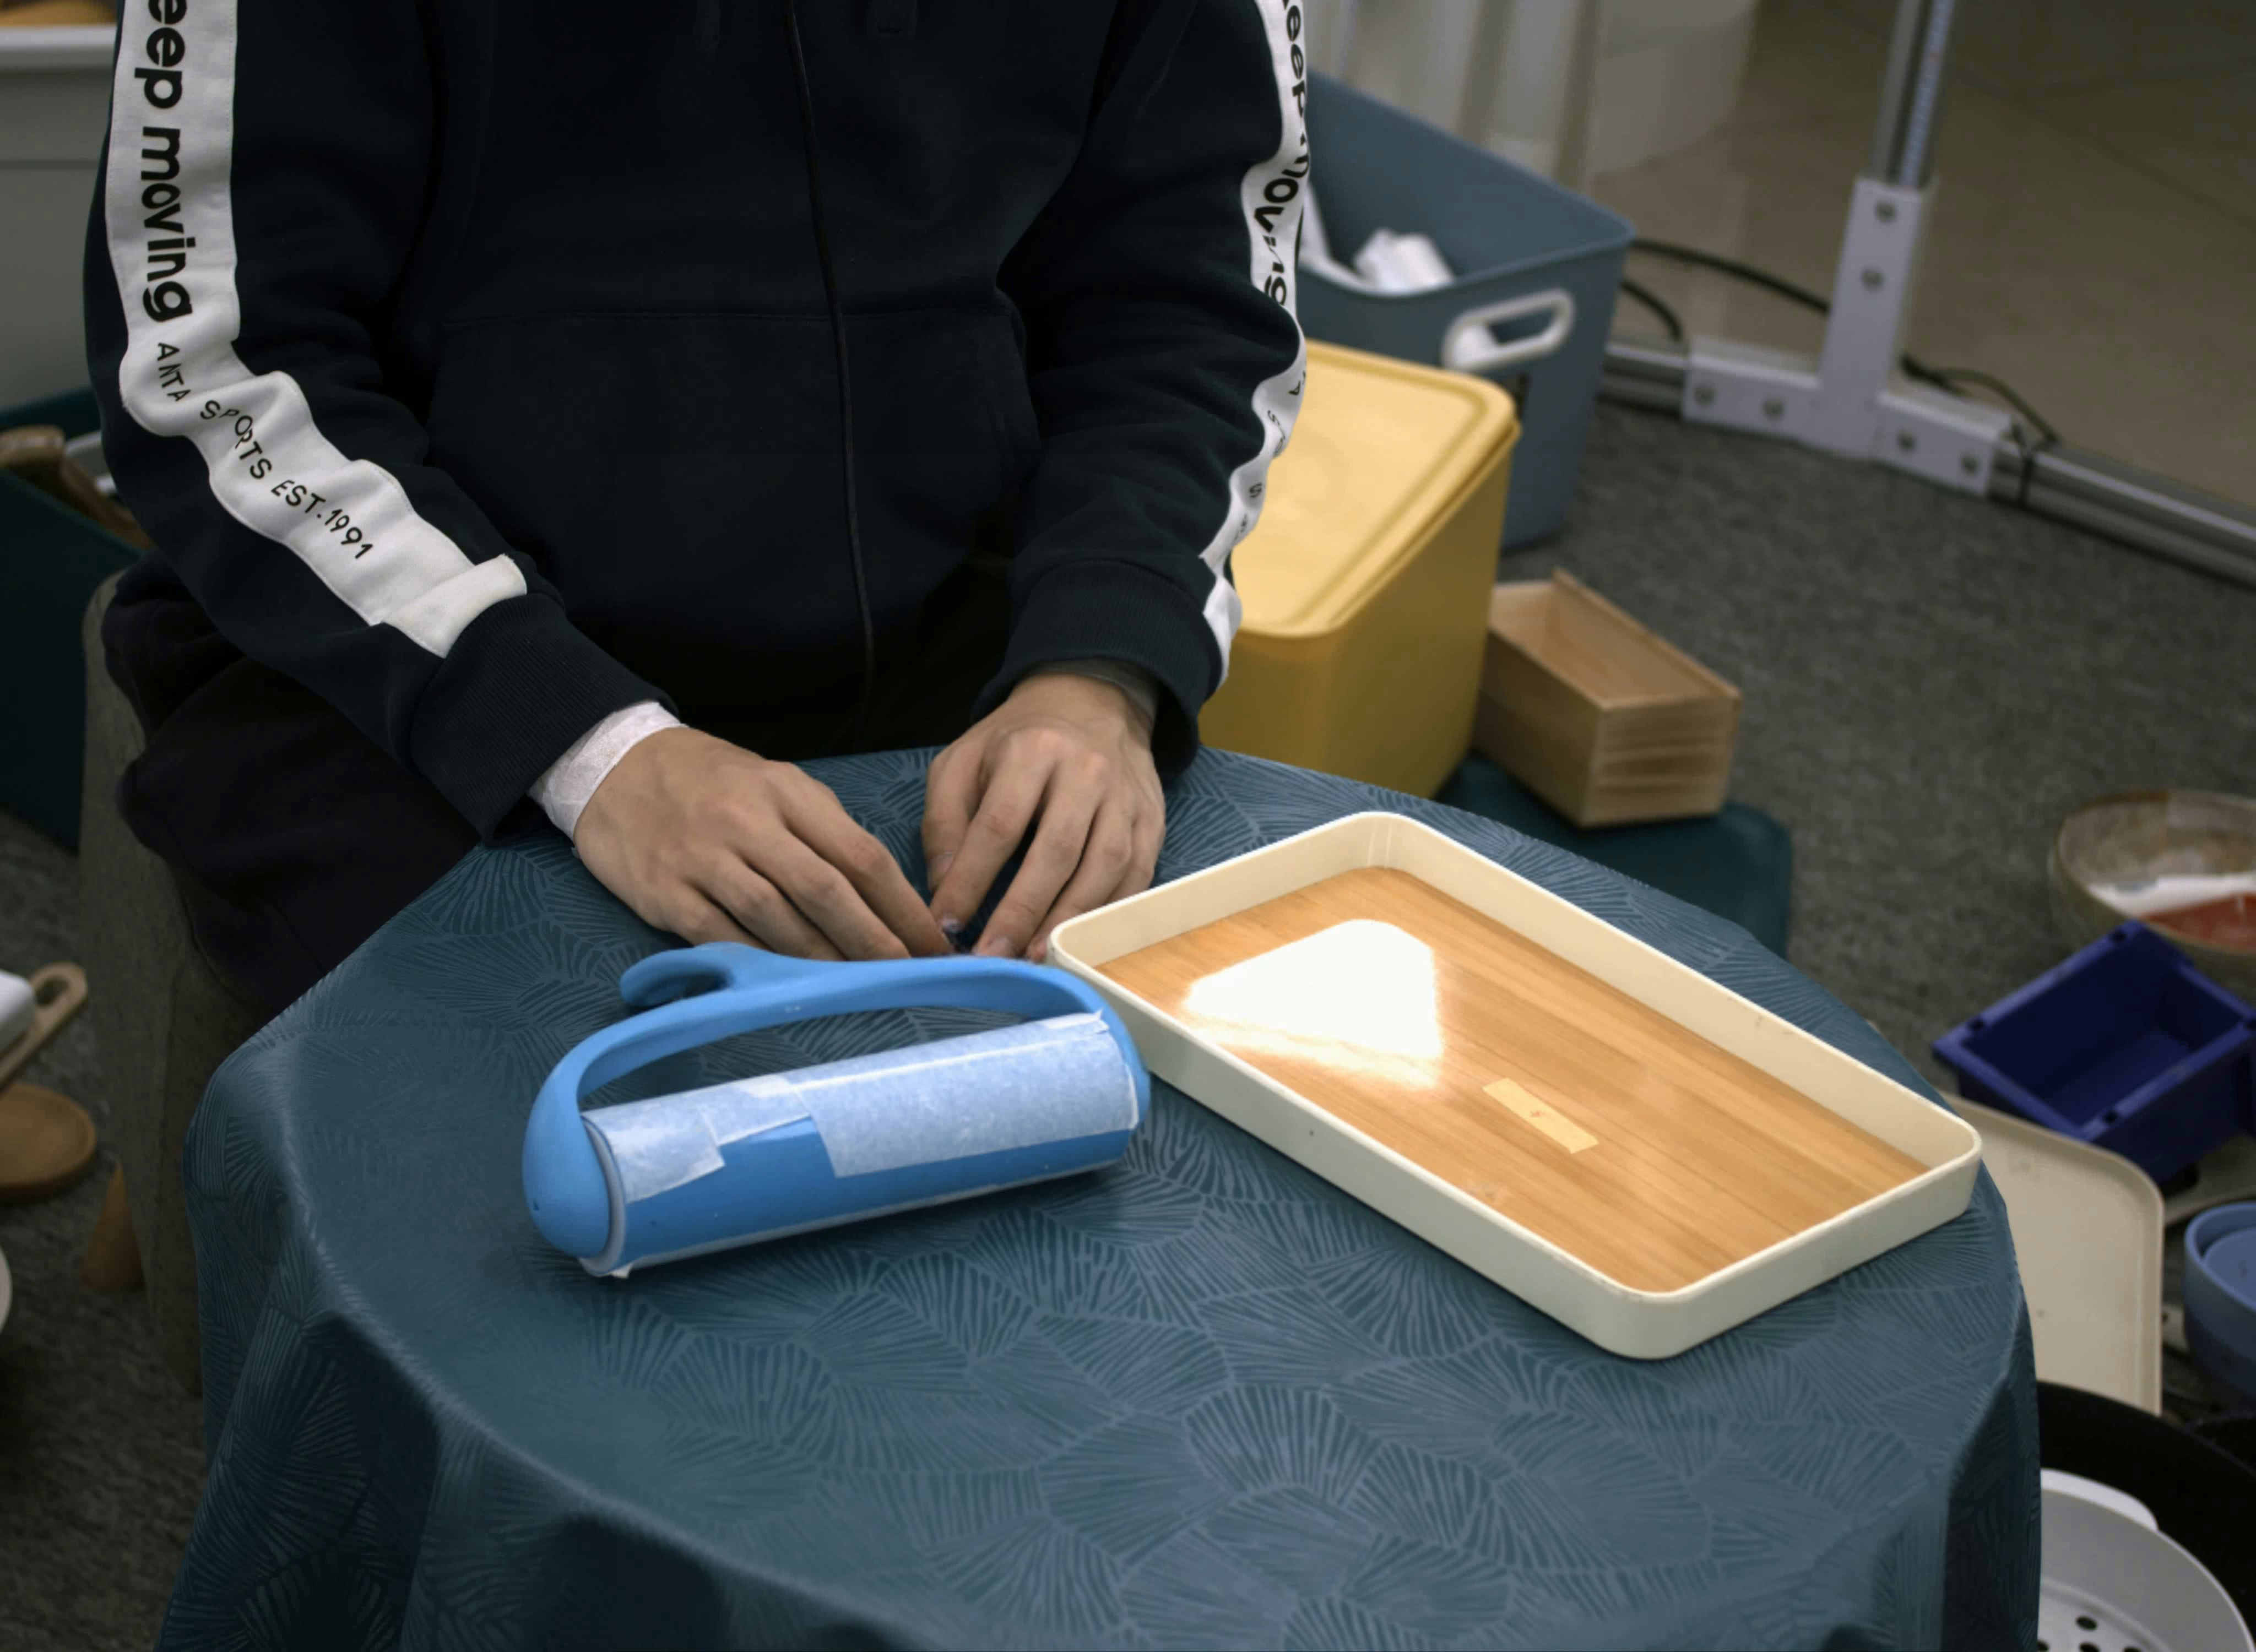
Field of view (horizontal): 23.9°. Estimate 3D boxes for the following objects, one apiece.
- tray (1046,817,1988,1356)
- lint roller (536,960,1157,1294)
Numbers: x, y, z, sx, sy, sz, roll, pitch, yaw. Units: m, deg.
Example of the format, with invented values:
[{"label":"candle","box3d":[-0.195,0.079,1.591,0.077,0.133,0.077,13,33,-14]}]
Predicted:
[{"label":"tray","box3d":[0.133,0.086,1.873,0.190,0.027,0.302,-19,36,-40]},{"label":"lint roller","box3d":[-0.123,0.080,1.797,0.227,0.067,0.182,-15,34,-32]}]
